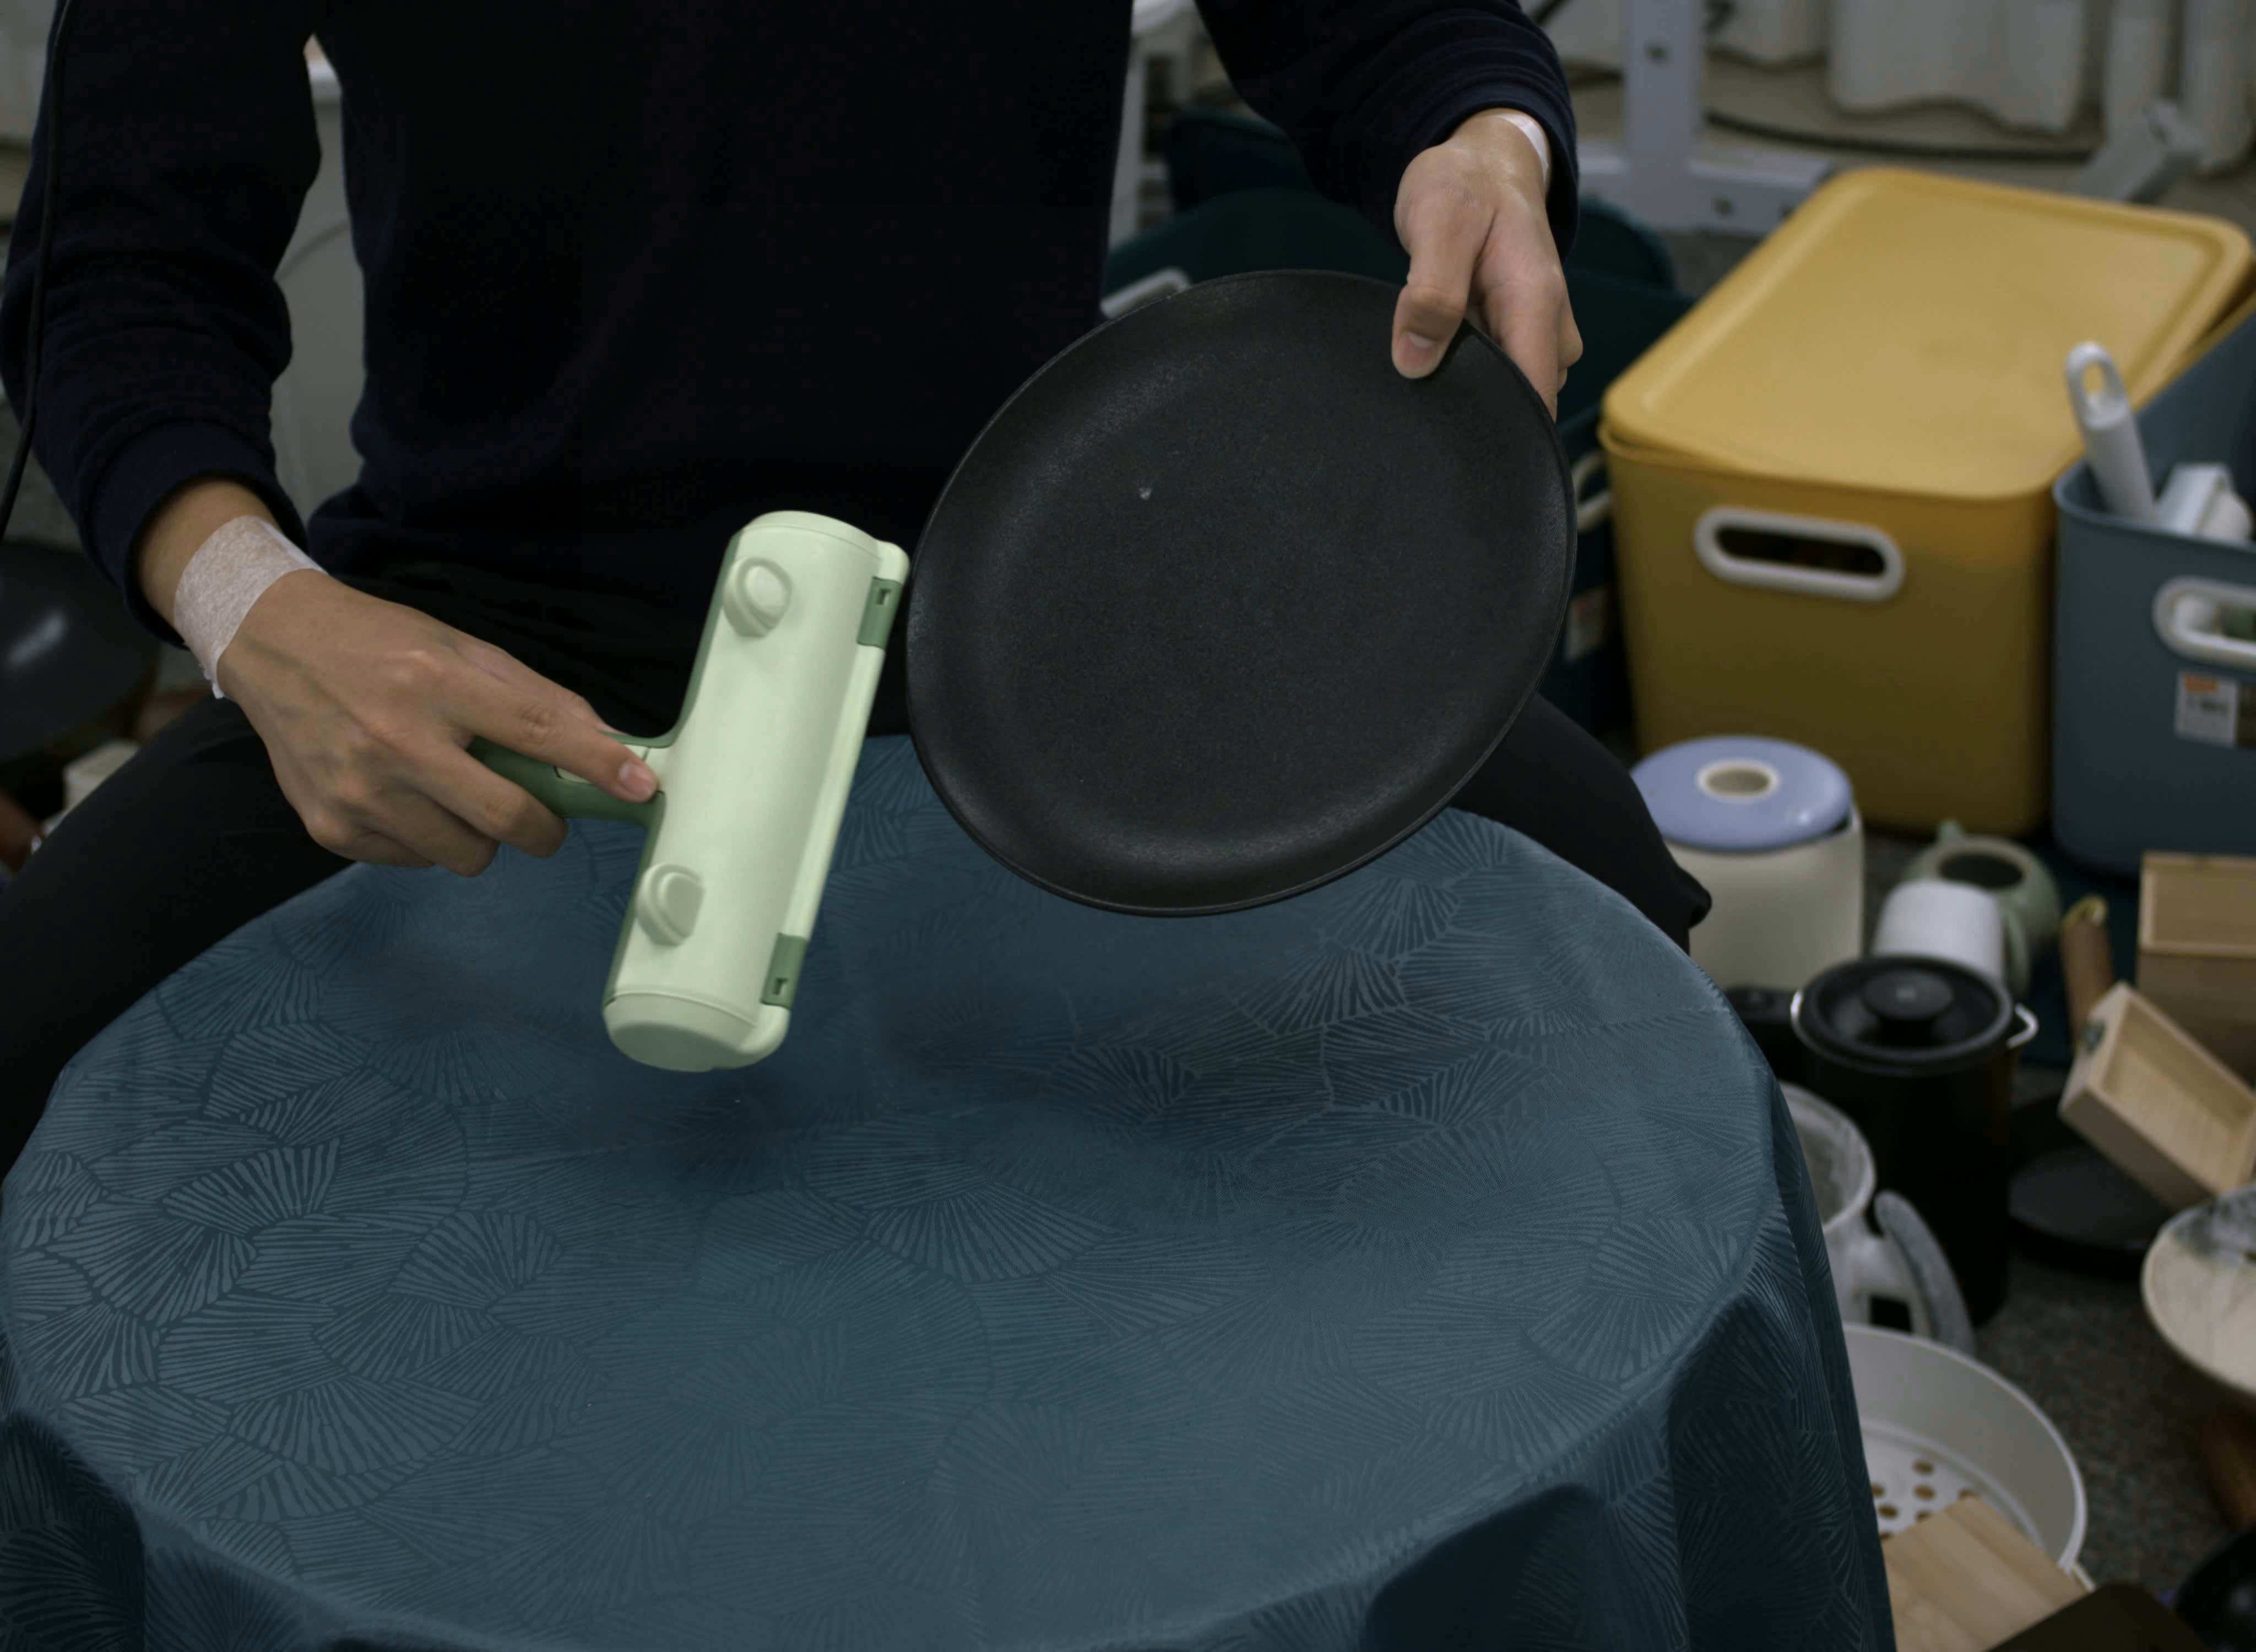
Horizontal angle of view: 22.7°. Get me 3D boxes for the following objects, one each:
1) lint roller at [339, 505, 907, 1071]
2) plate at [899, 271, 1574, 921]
[{"bbox_3d":[-0.182,-0.026,1.899,0.182,0.081,0.202,10,64,5],"label":"lint roller"},{"bbox_3d":[0.038,-0.076,1.898,0.242,0.023,0.249,-10,60,18],"label":"plate"}]
